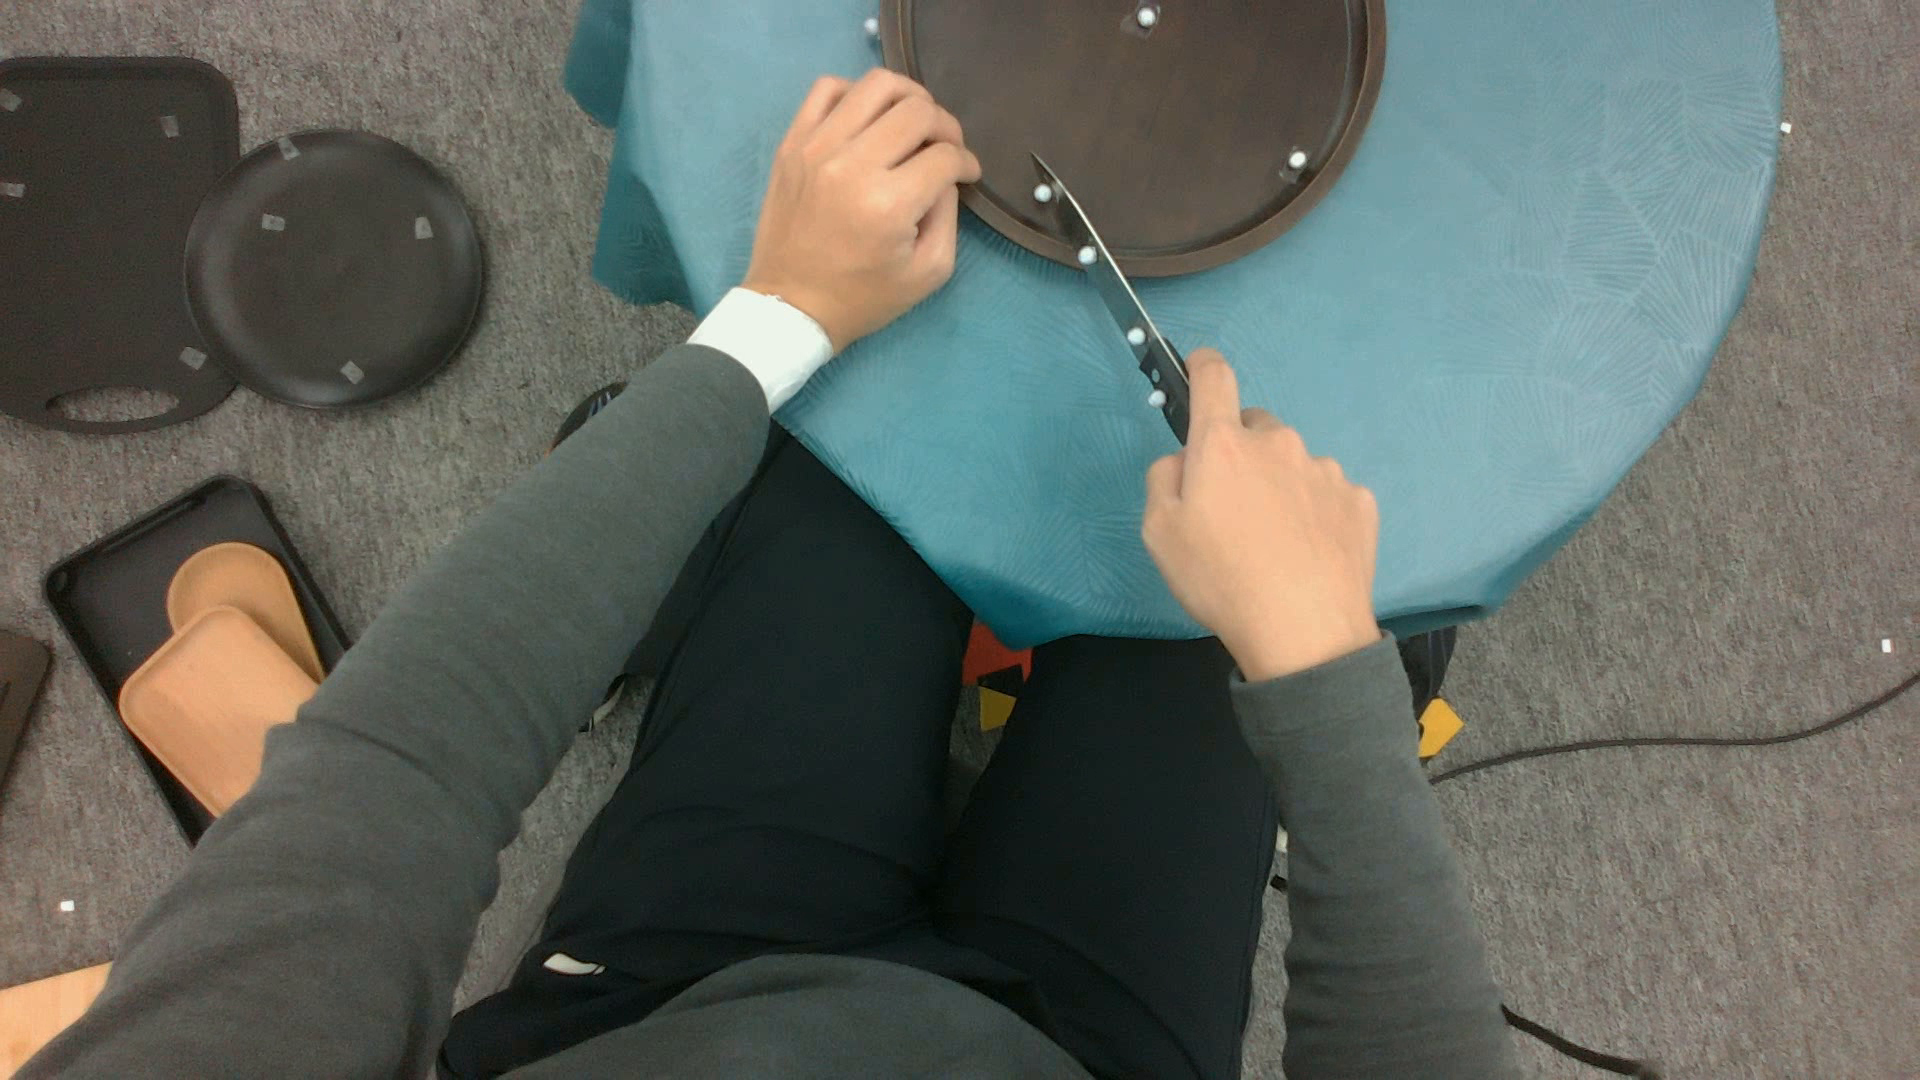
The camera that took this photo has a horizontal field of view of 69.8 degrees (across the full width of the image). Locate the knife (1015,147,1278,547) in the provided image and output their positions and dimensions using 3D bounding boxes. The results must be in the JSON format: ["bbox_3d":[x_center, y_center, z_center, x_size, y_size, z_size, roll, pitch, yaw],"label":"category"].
[{"bbox_3d":[0.080,-0.098,0.634,0.016,0.024,0.238,-19,66,-21],"label":"knife"}]

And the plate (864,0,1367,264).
[{"bbox_3d":[0.079,-0.261,0.688,0.255,0.029,0.255,1,85,-6],"label":"plate"}]
